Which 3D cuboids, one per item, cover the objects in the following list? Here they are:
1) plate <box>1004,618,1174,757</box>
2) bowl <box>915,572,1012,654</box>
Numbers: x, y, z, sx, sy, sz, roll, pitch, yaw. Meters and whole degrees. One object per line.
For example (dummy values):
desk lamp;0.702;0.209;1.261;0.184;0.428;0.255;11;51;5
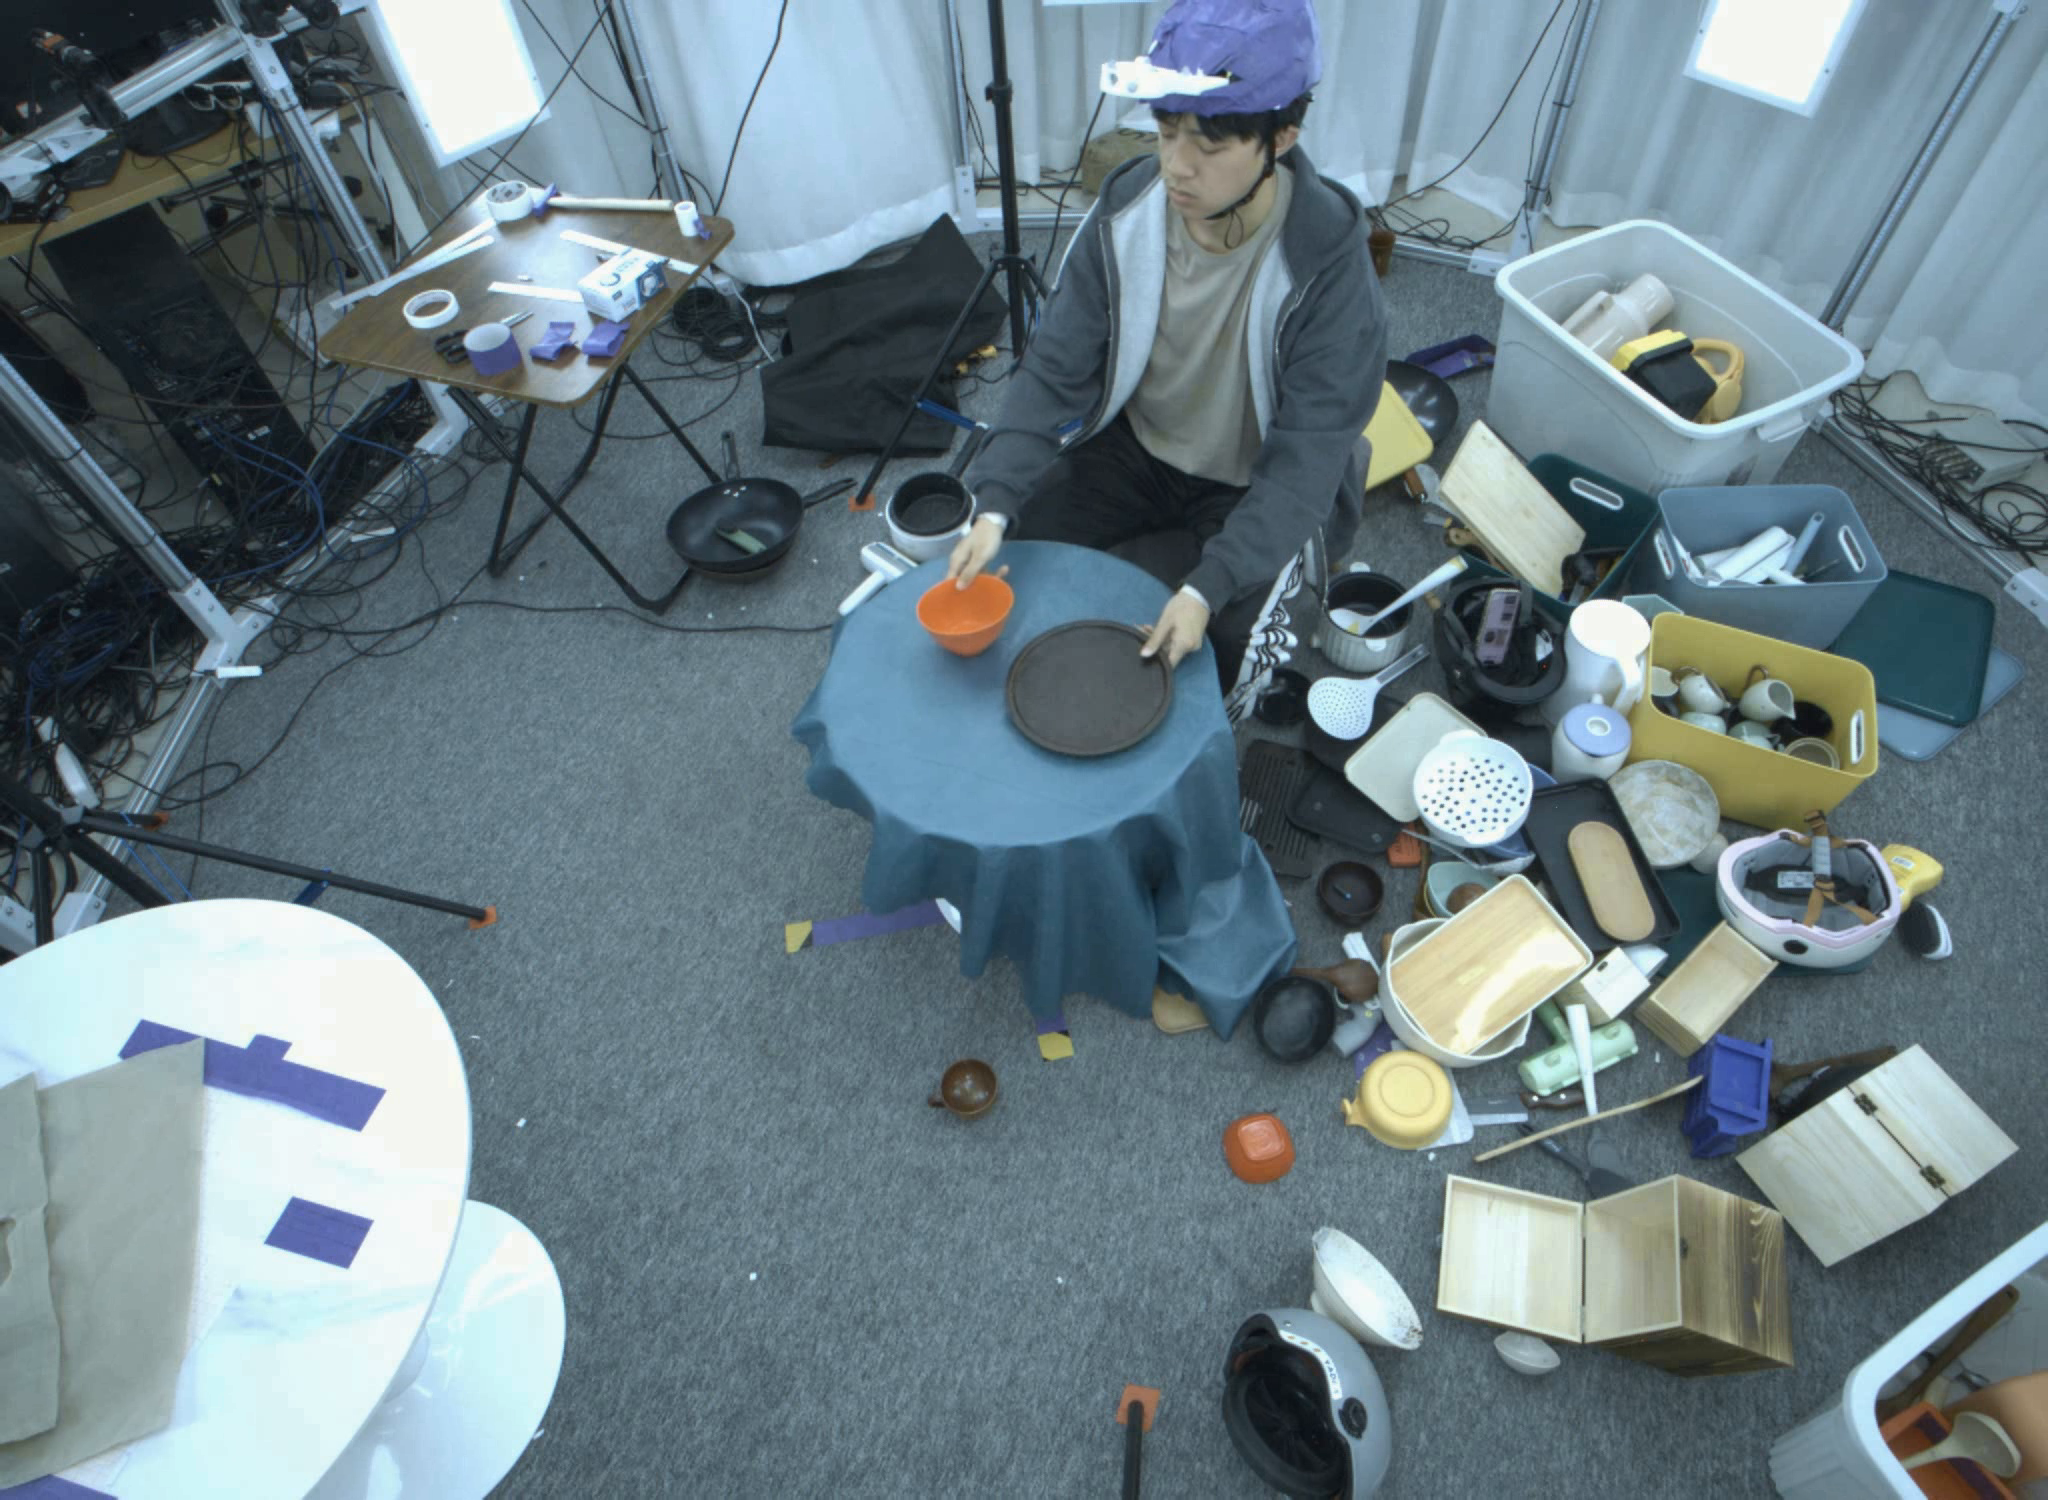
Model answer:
plate;0.096;-0.094;1.831;0.254;0.029;0.252;-3;56;5
bowl;-0.087;-0.195;1.866;0.147;0.106;0.146;-3;55;5
